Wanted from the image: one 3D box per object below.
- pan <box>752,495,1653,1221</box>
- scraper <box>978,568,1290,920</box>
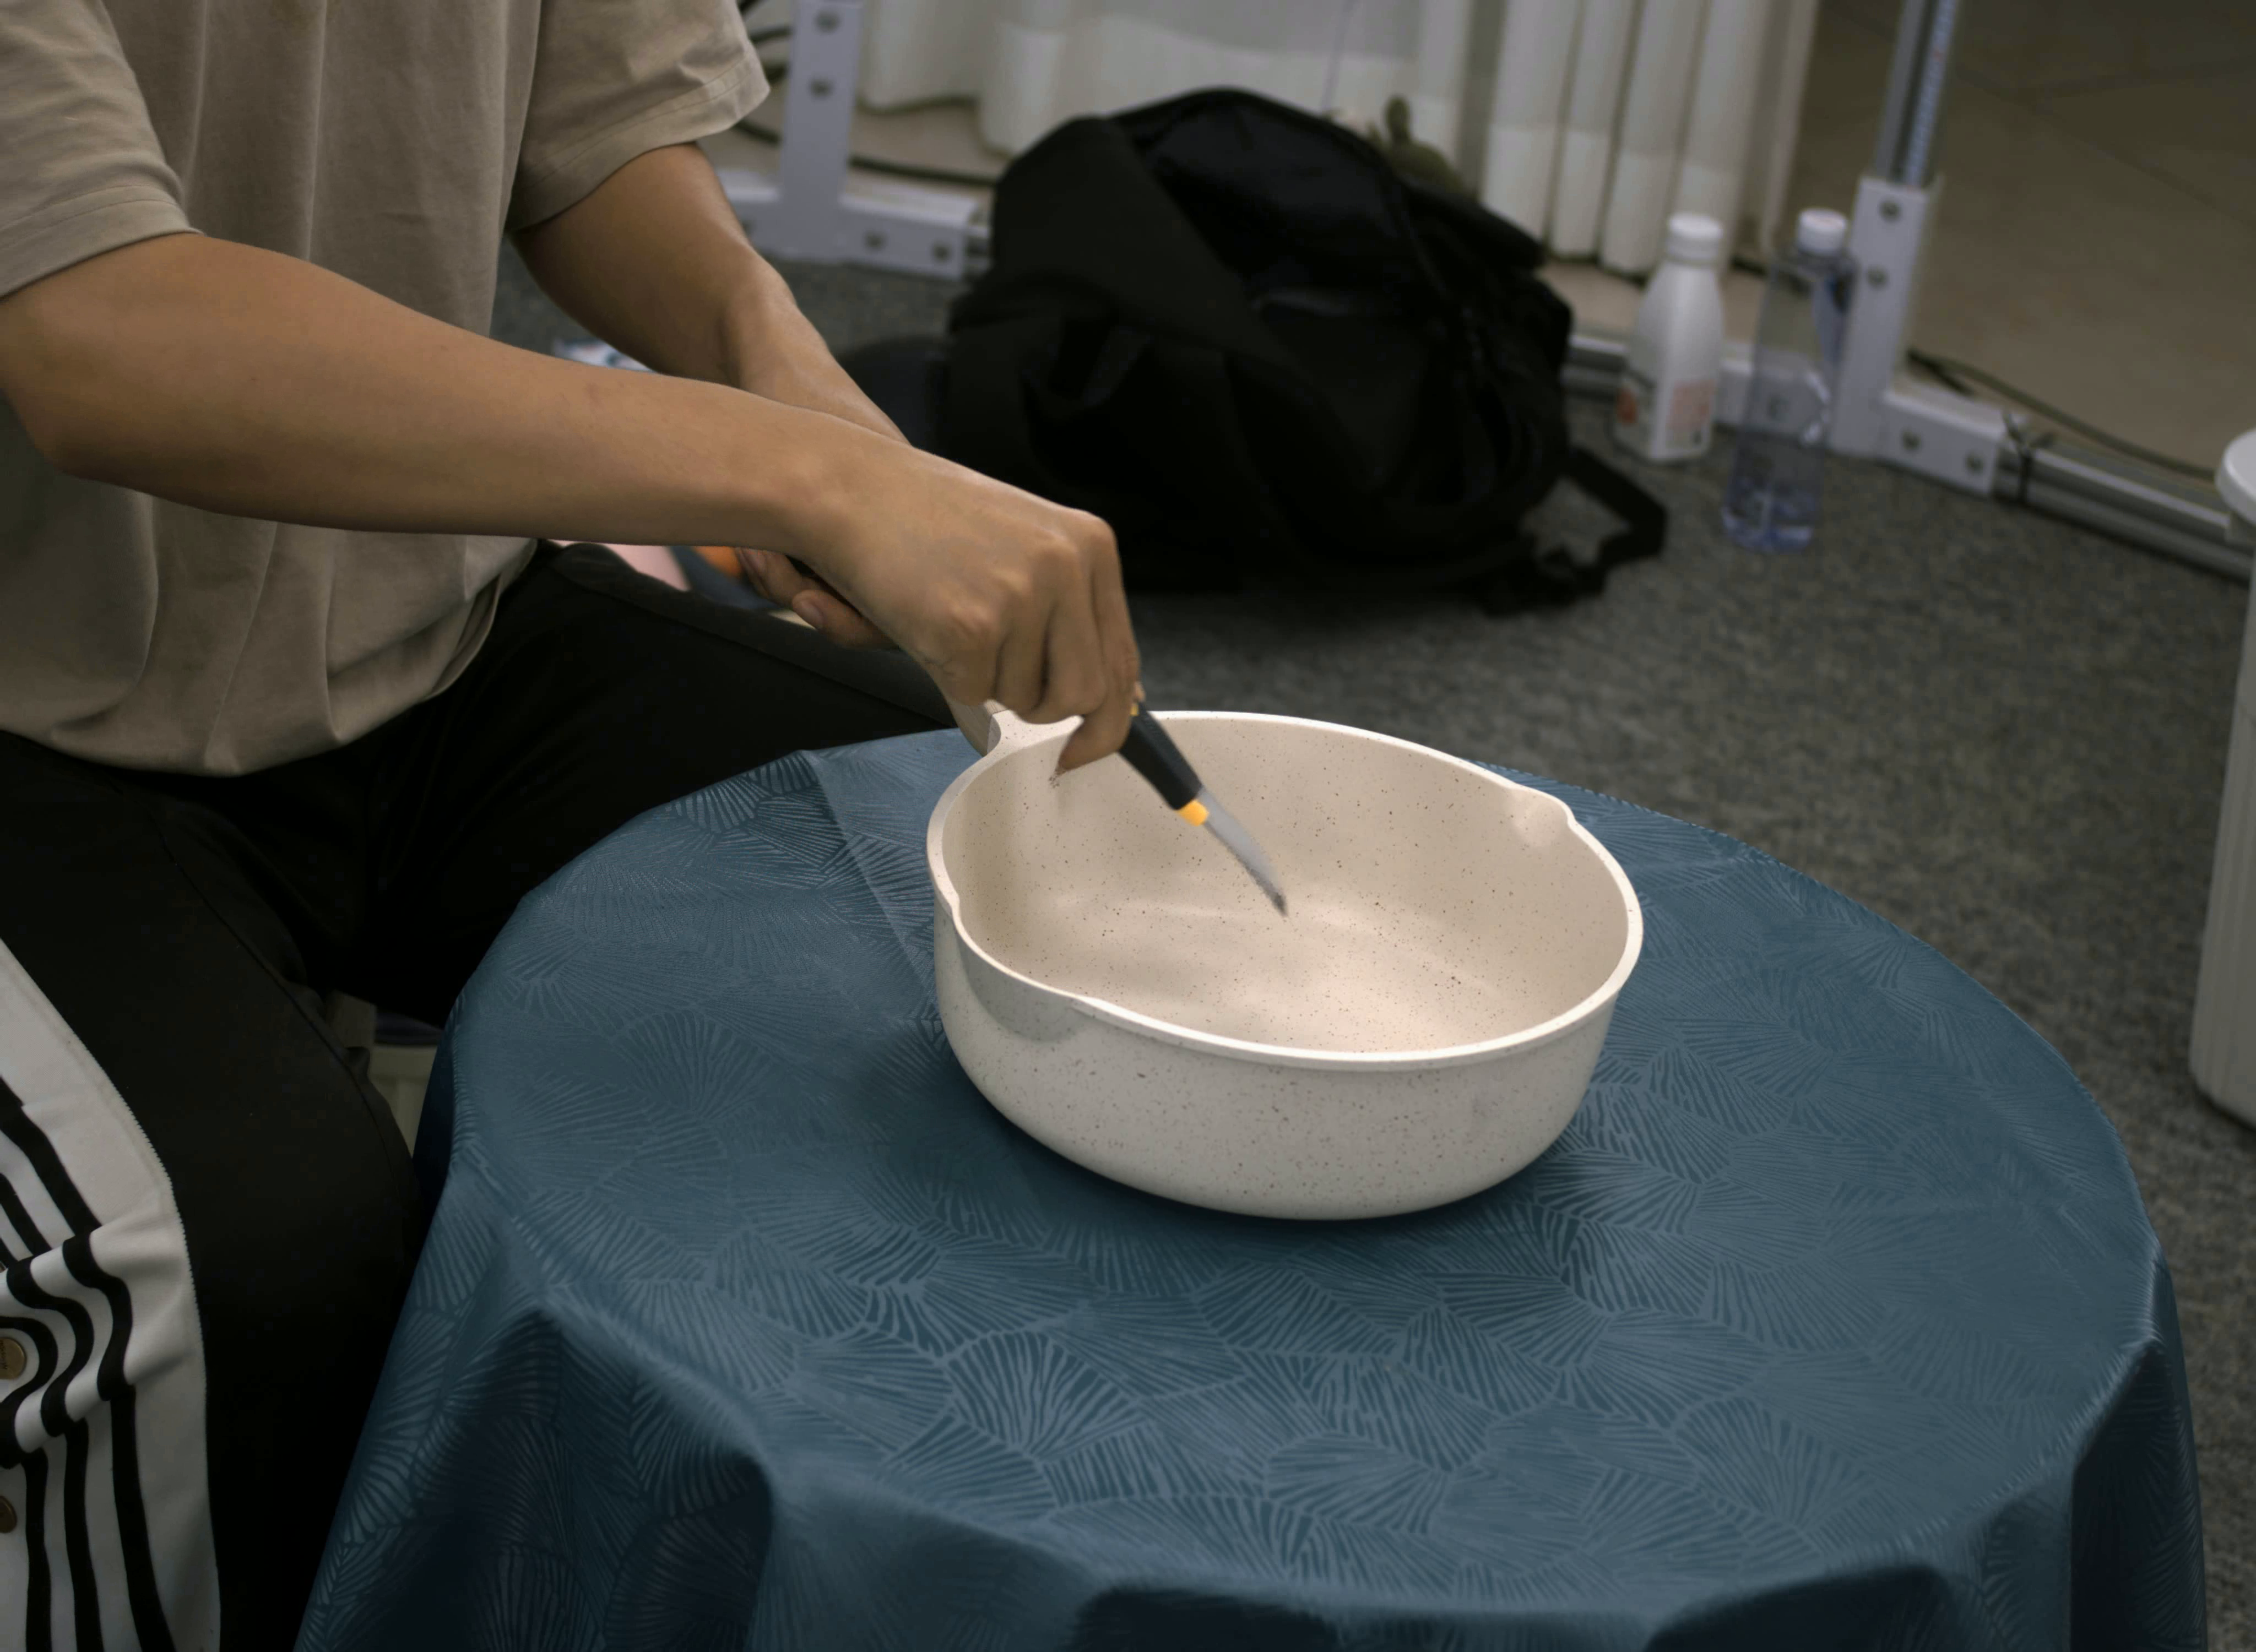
[{"bbox_3d":[-0.002,0.007,1.927,0.262,0.101,0.438,-17,36,-35],"label":"pan"},{"bbox_3d":[0.003,-0.030,1.867,0.015,0.169,0.039,-29,31,26],"label":"scraper"}]
